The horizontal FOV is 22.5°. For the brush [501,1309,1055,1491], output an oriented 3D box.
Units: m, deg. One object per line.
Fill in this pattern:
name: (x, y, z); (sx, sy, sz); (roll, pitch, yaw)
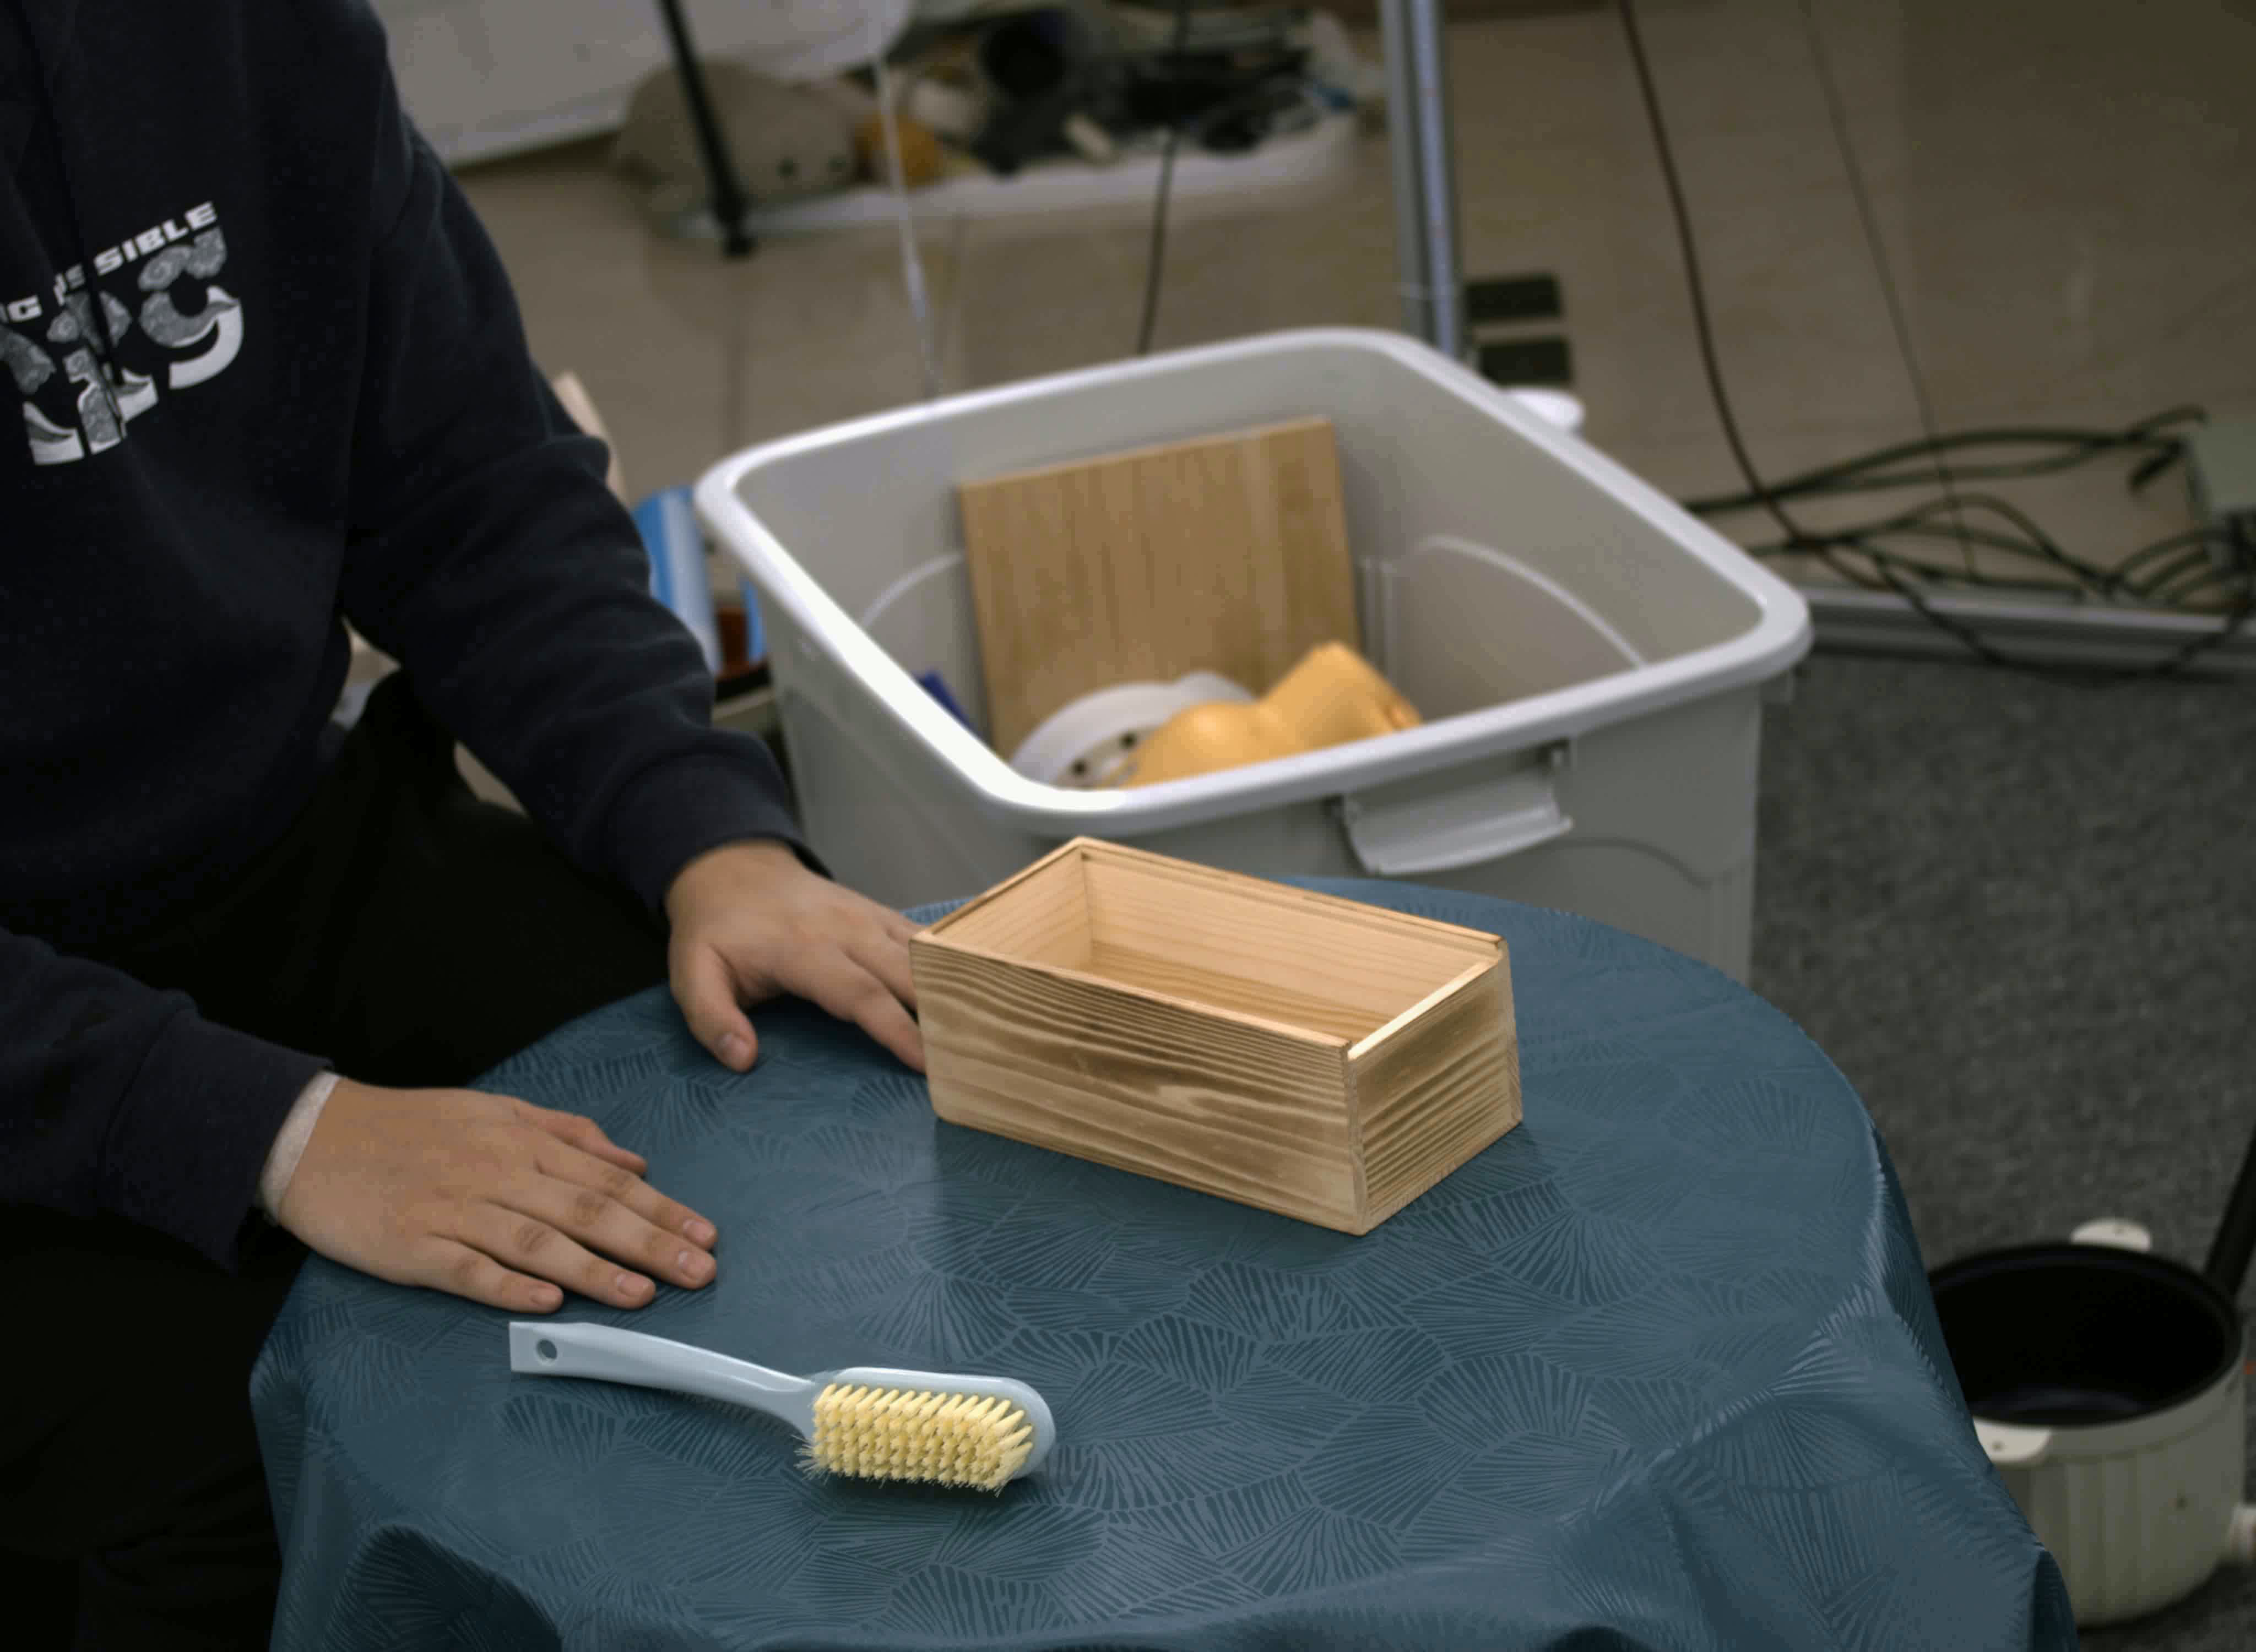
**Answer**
brush: (-0.132, 0.199, 2.003); (0.227, 0.038, 0.049); (10, 22, 30)

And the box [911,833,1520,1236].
box: (0.033, 0.077, 2.177); (0.210, 0.081, 0.106); (14, 32, 36)
